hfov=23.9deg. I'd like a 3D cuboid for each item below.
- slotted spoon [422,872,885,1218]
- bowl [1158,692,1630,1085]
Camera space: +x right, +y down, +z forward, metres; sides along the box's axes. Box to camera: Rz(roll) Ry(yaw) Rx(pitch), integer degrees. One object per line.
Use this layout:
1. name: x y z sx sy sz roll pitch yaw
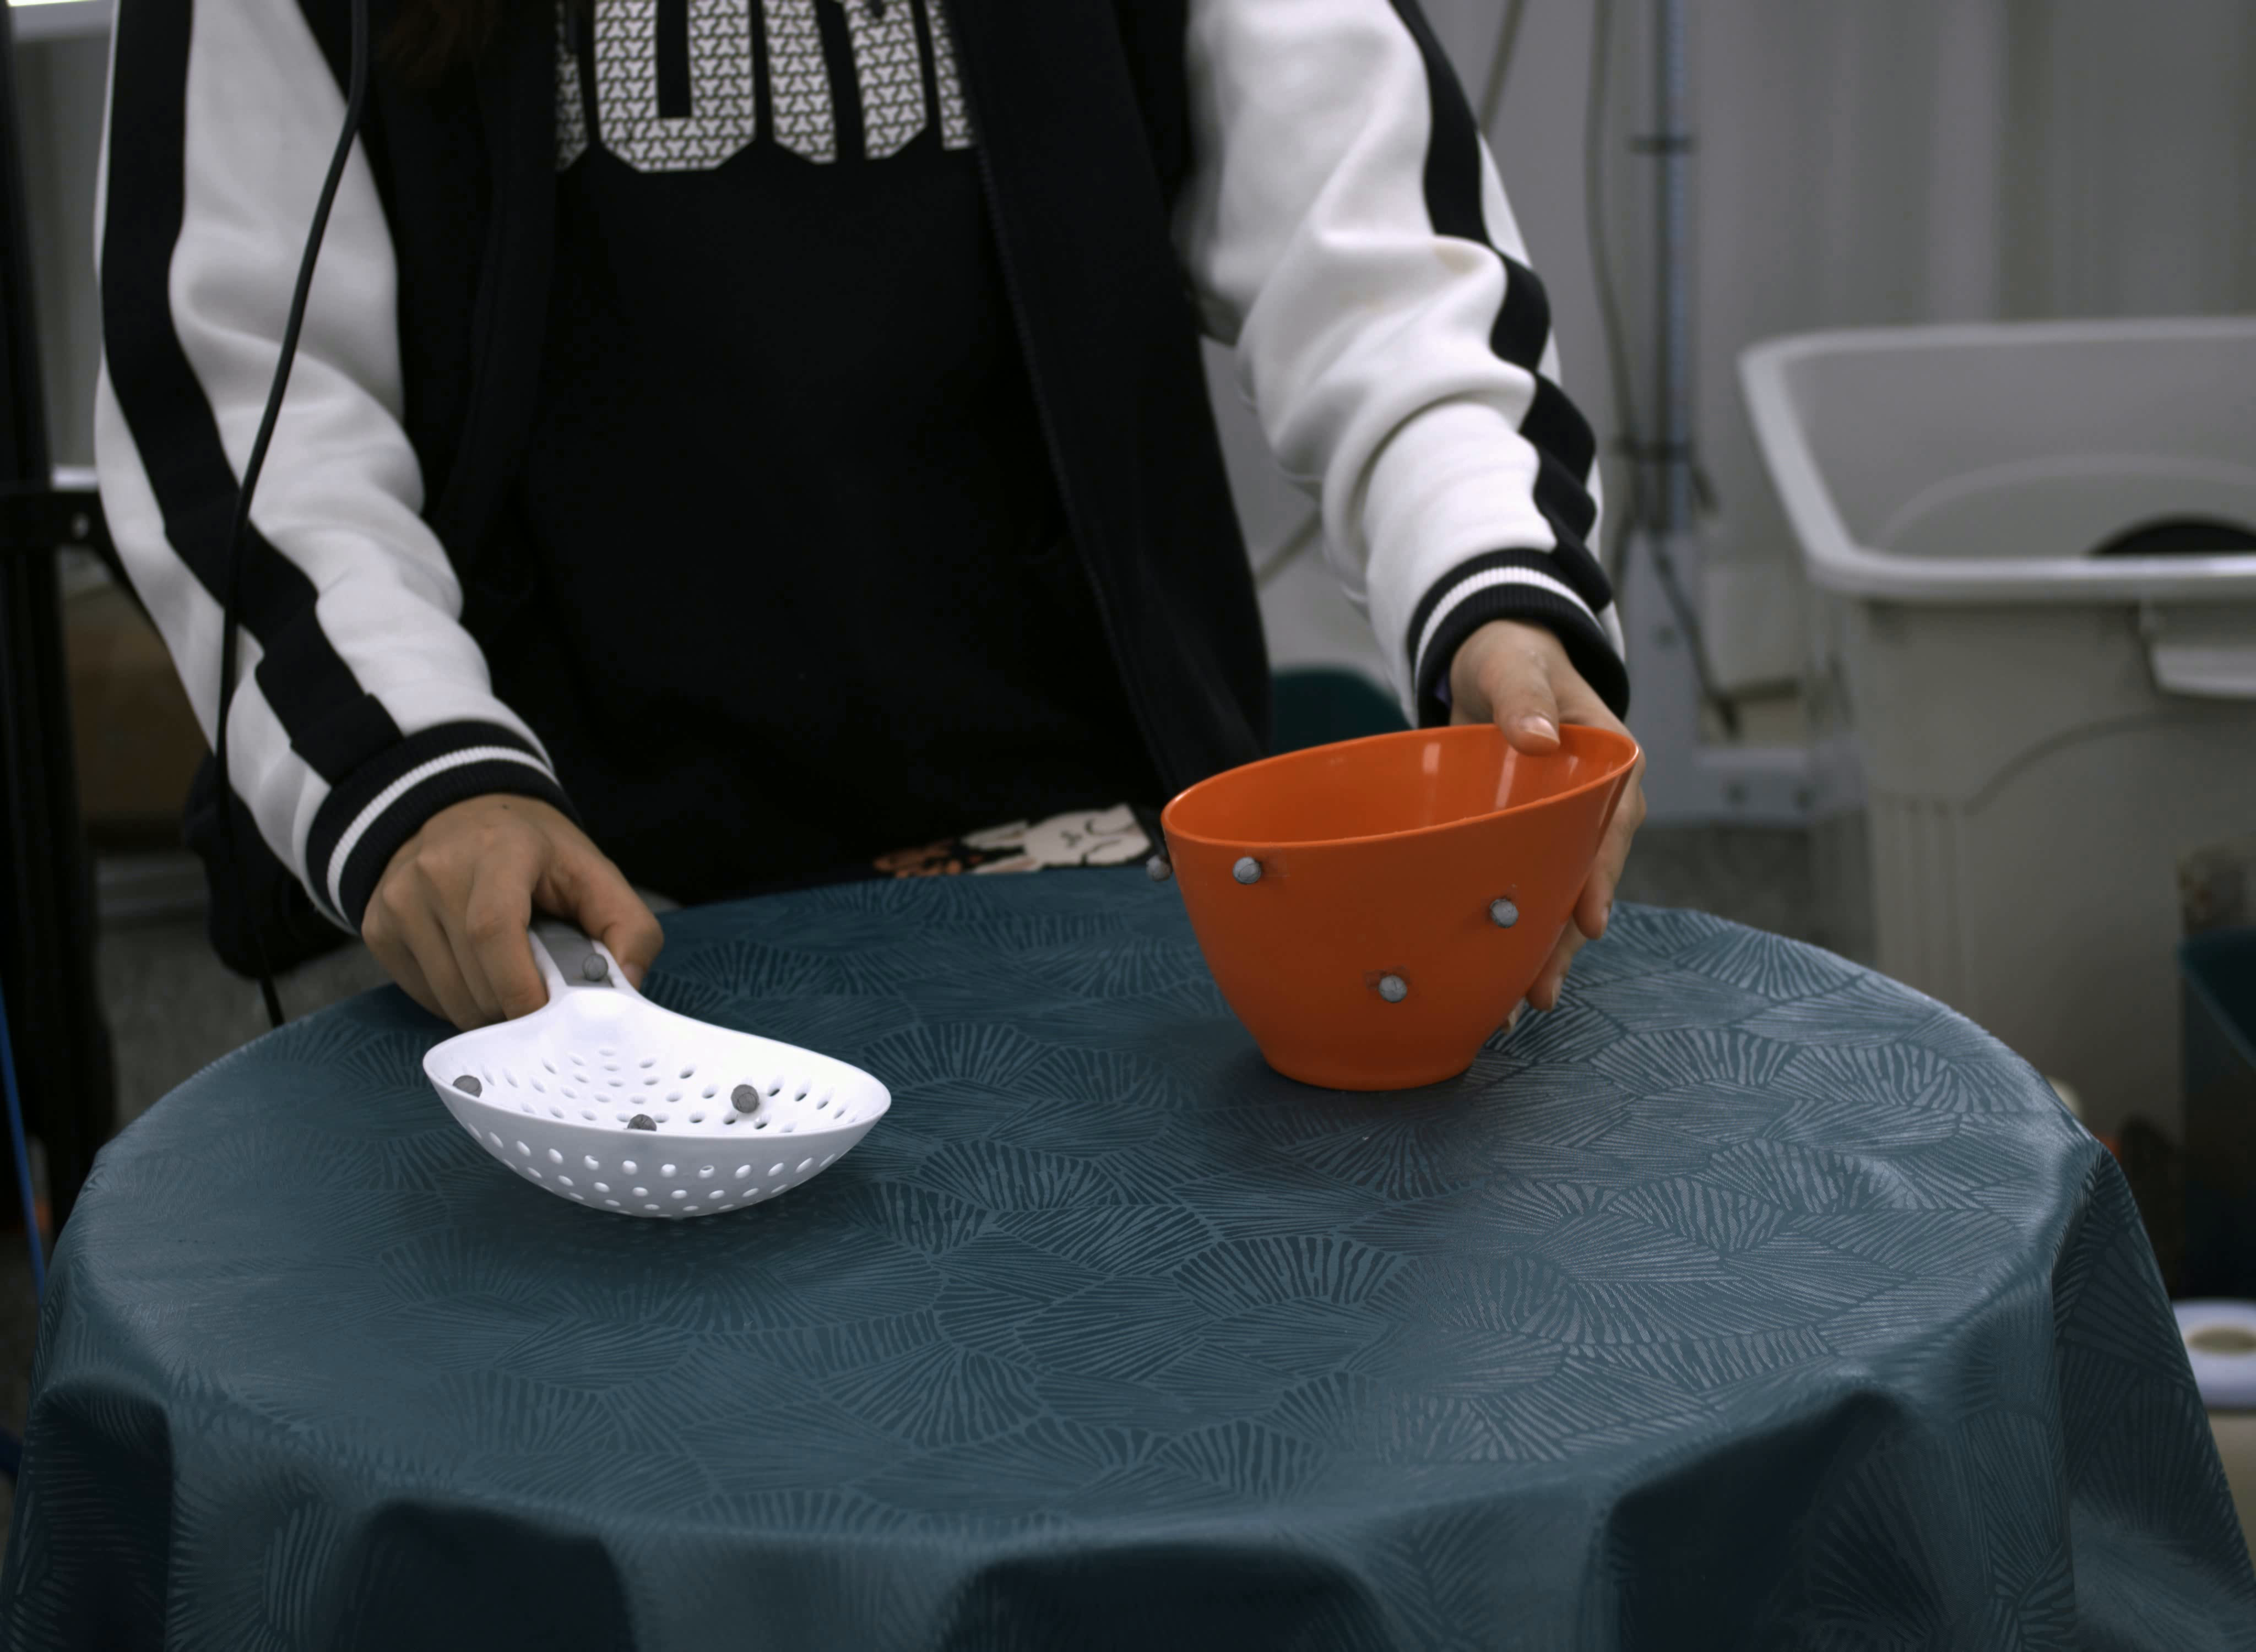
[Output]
1. slotted spoon: -0.164 0.059 1.658 0.134 0.046 0.354 3 15 -14
2. bowl: 0.086 0.022 1.639 0.147 0.104 0.149 -8 21 1
